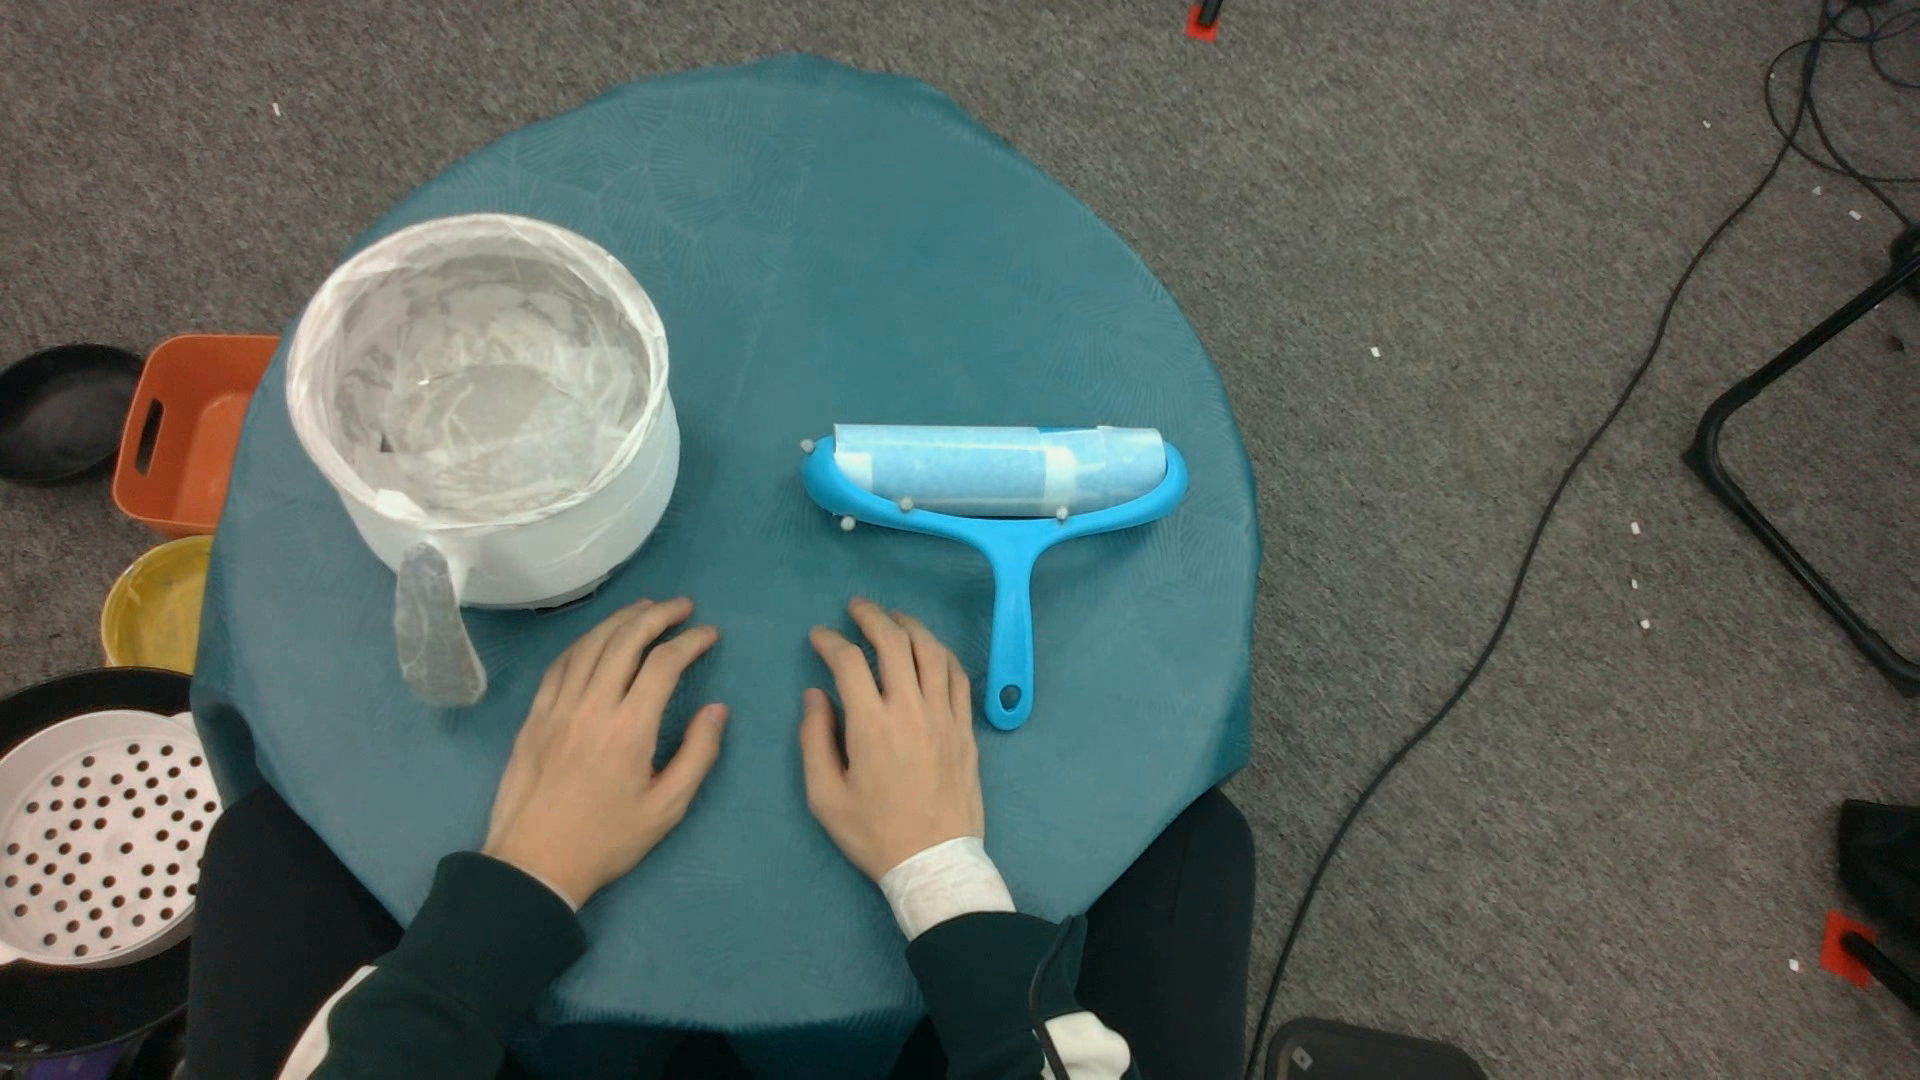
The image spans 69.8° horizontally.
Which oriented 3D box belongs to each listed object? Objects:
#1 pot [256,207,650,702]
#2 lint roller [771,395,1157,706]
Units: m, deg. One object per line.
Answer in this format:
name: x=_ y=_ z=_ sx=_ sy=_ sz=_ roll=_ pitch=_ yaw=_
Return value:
pot: x=-0.258 y=-0.039 z=0.715 sx=0.179 sy=0.136 sz=0.234 roll=7 pitch=65 yaw=-6
lint roller: x=0.014 y=0.000 z=0.788 sx=0.229 sy=0.067 sz=0.181 roll=-5 pitch=67 yaw=-13
